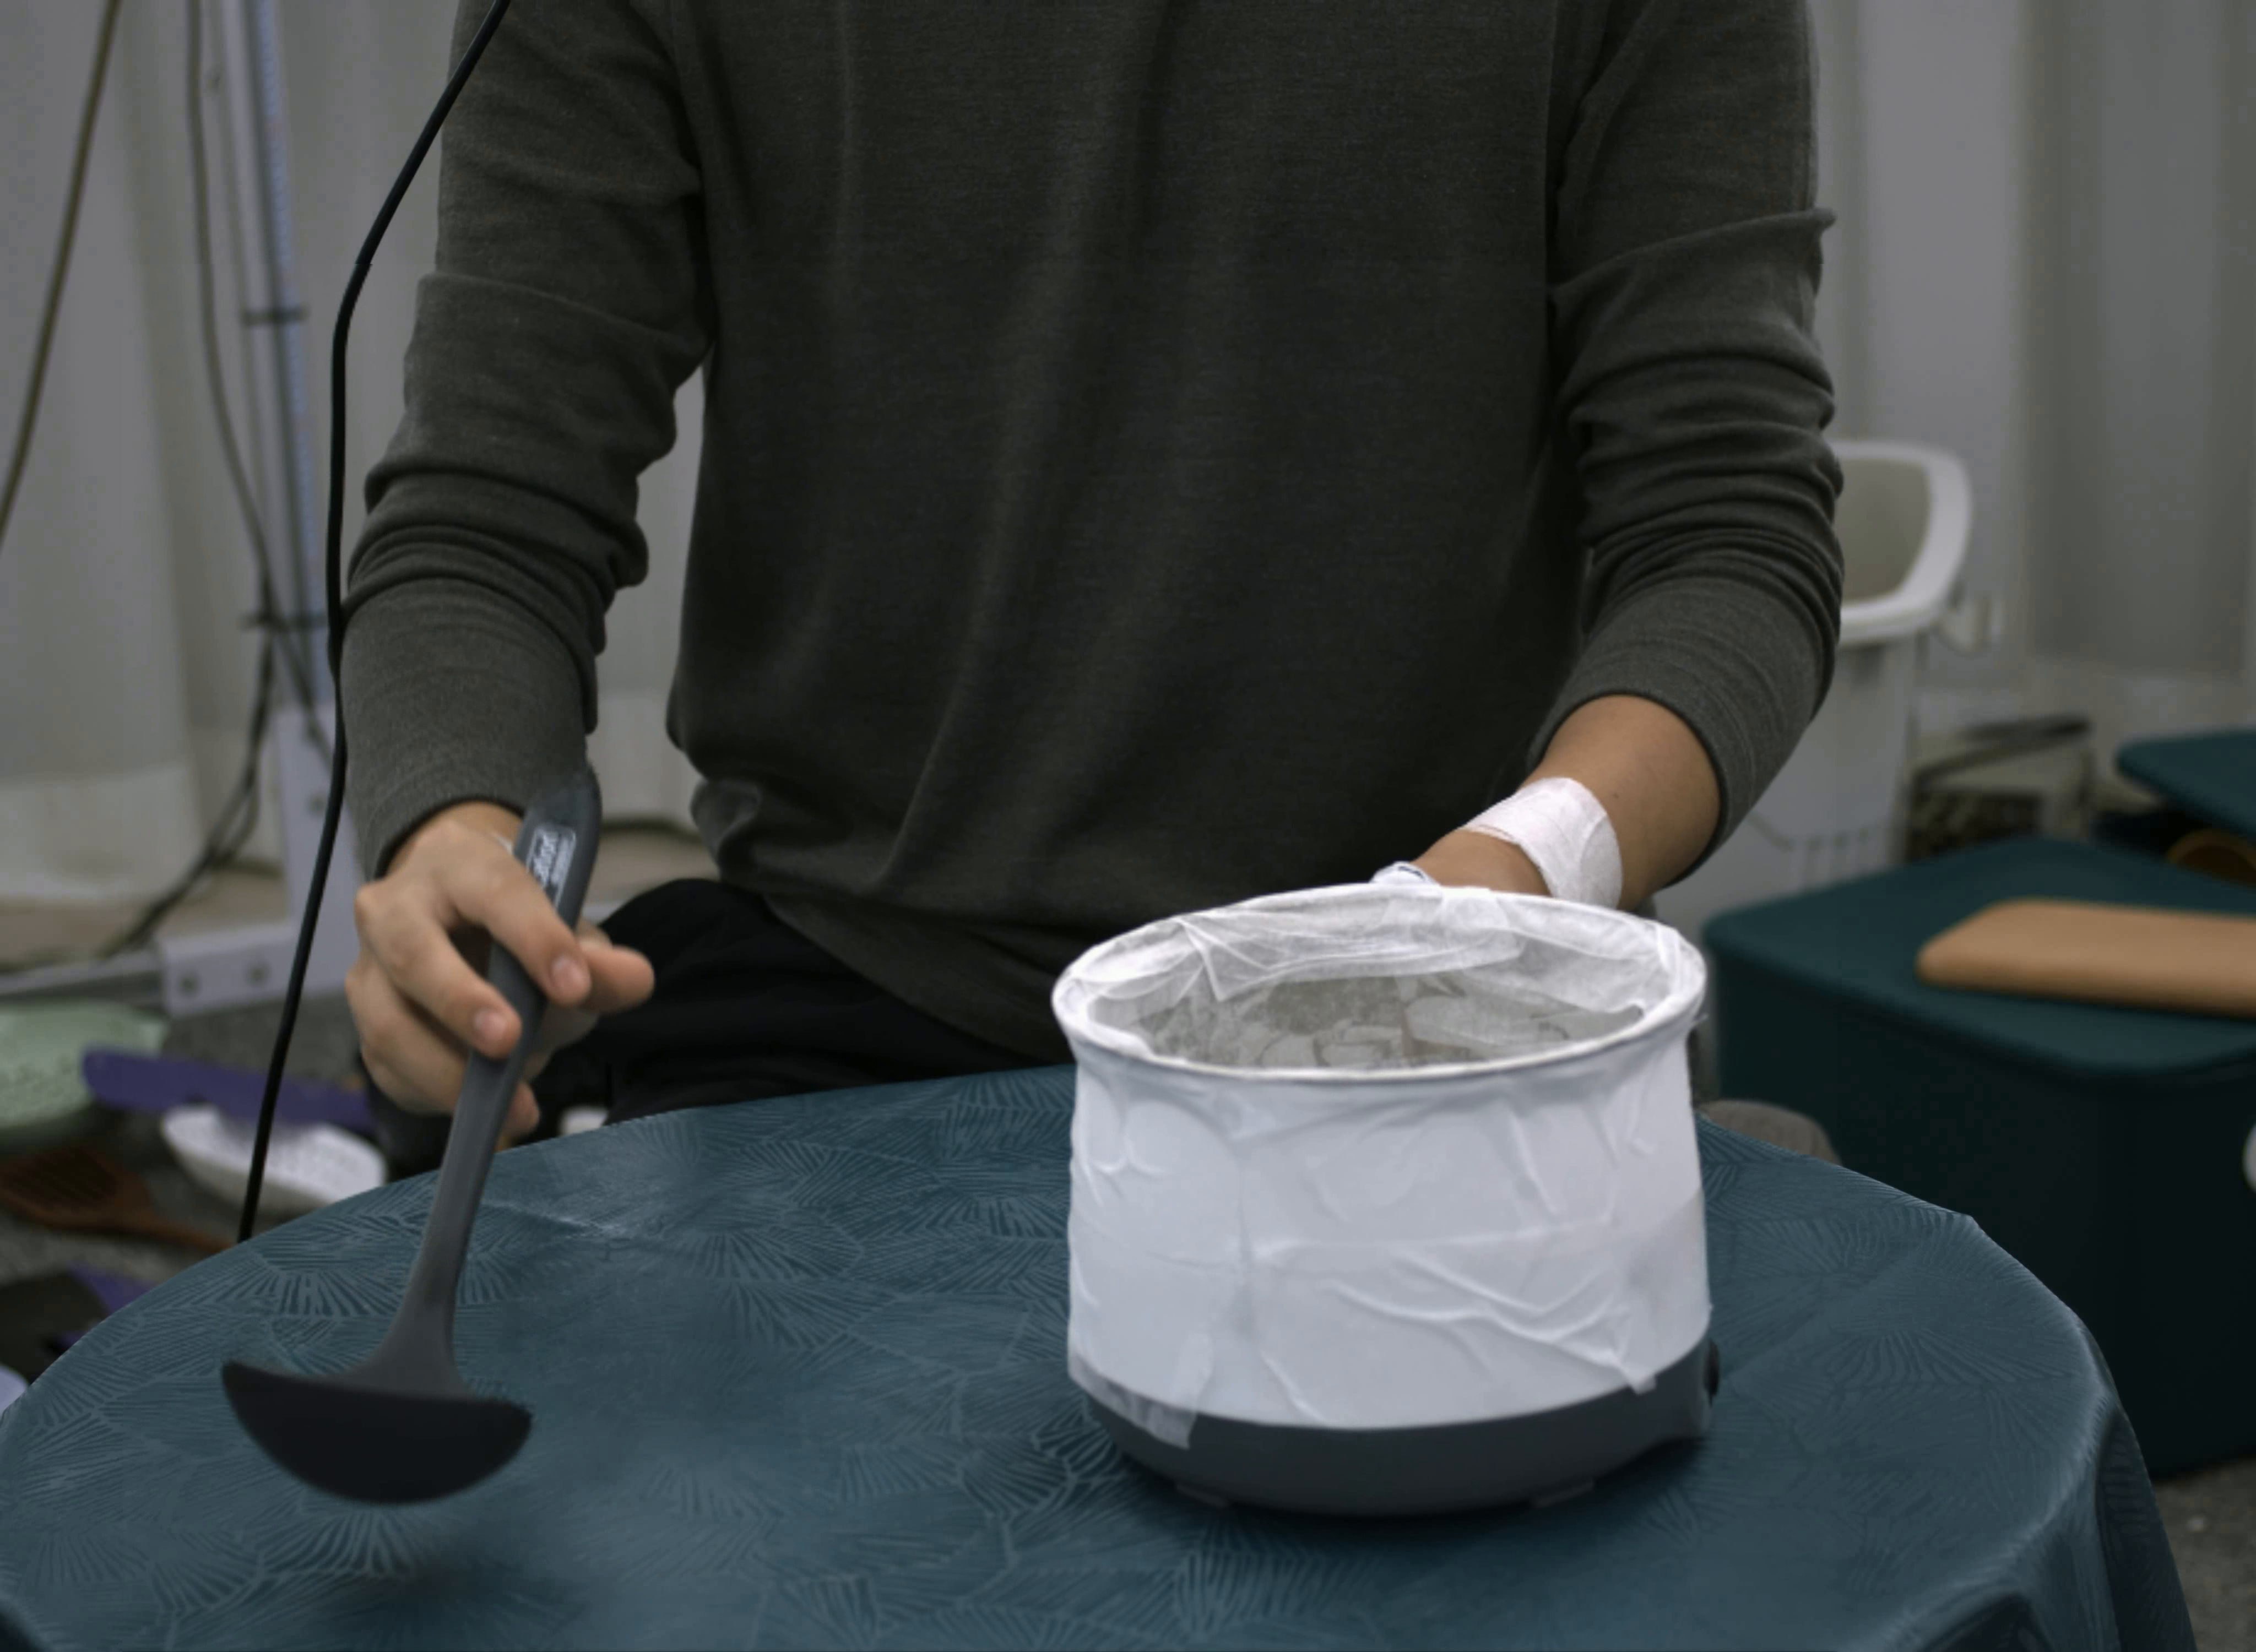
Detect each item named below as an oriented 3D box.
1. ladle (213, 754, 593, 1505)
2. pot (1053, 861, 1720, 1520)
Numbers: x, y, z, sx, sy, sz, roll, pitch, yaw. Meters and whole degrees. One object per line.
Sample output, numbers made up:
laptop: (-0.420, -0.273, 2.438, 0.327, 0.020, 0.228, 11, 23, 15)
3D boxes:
ladle: (-0.181, 0.066, 1.517, 0.086, 0.063, 0.318, 11, 41, -1)
pot: (0.073, 0.095, 1.514, 0.178, 0.136, 0.235, -1, 14, 6)
